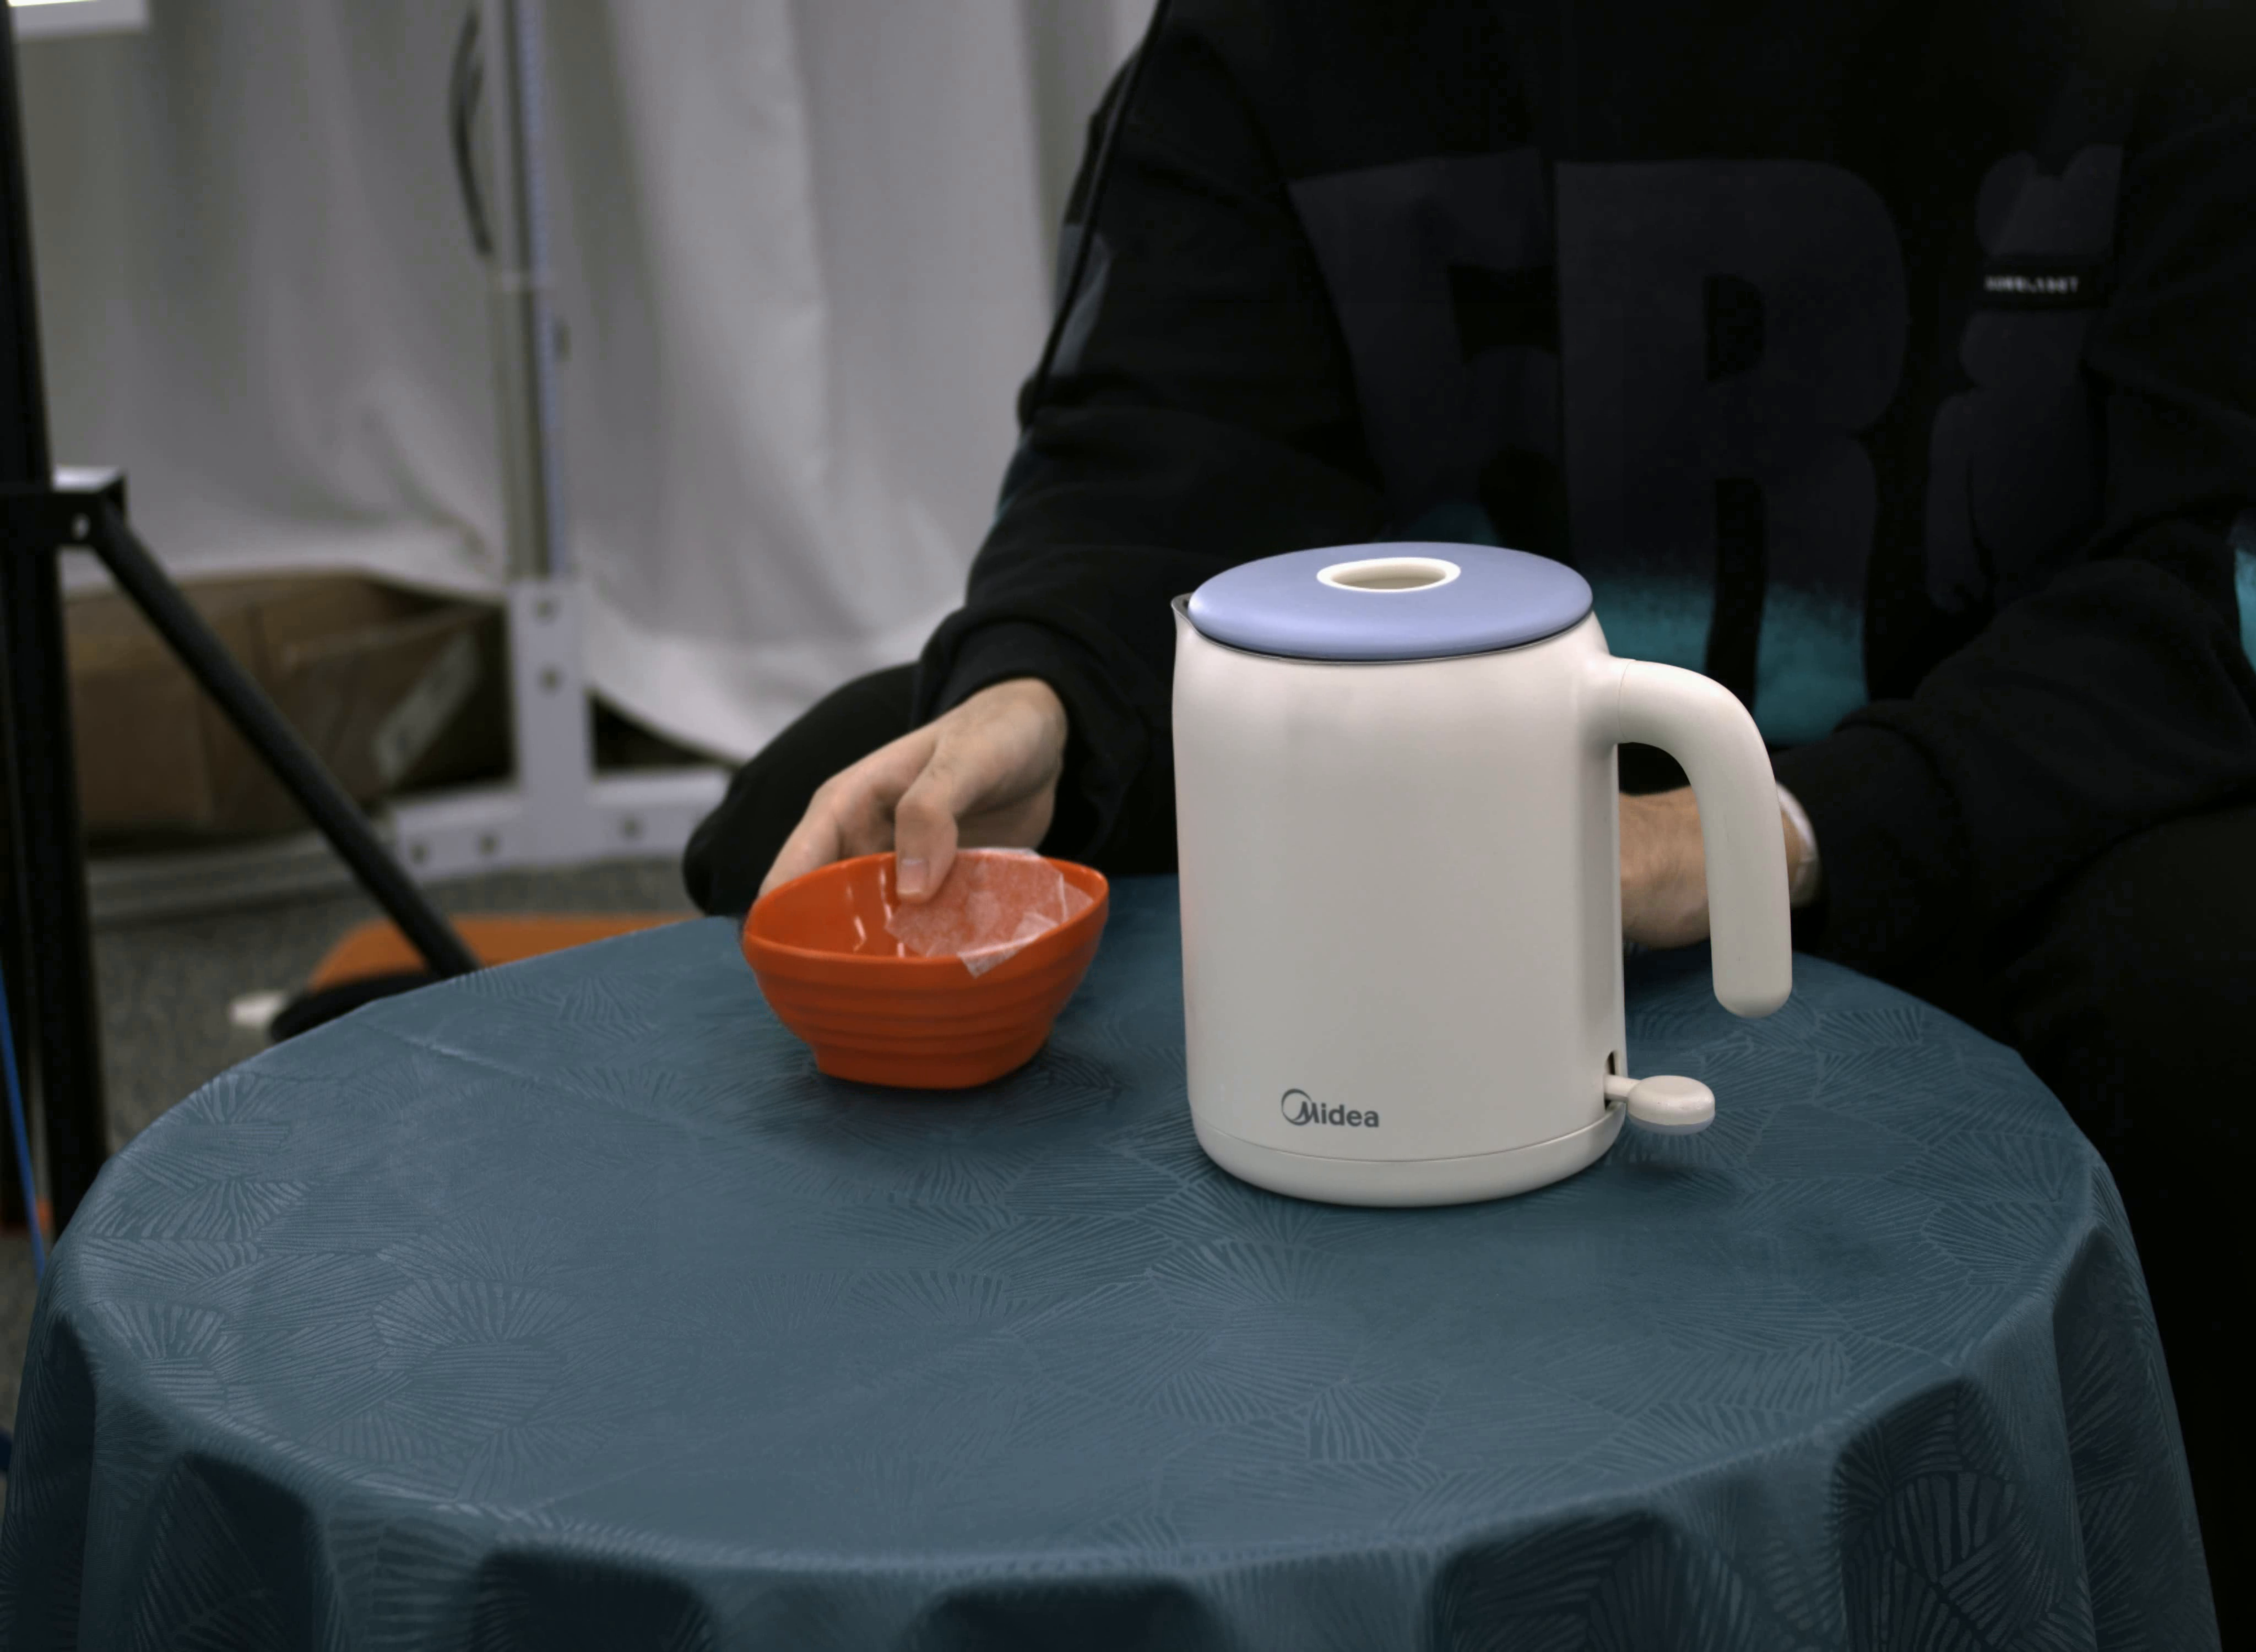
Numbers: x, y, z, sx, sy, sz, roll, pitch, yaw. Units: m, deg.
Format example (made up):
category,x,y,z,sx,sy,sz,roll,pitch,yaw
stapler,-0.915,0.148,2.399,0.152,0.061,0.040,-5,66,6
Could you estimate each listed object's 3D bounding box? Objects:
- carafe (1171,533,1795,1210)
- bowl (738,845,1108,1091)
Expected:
category,x,y,z,sx,sy,sz,roll,pitch,yaw
carafe,0.103,0.015,1.557,0.193,0.182,0.130,7,19,22
bowl,-0.061,0.047,1.672,0.118,0.051,0.119,-7,18,1
